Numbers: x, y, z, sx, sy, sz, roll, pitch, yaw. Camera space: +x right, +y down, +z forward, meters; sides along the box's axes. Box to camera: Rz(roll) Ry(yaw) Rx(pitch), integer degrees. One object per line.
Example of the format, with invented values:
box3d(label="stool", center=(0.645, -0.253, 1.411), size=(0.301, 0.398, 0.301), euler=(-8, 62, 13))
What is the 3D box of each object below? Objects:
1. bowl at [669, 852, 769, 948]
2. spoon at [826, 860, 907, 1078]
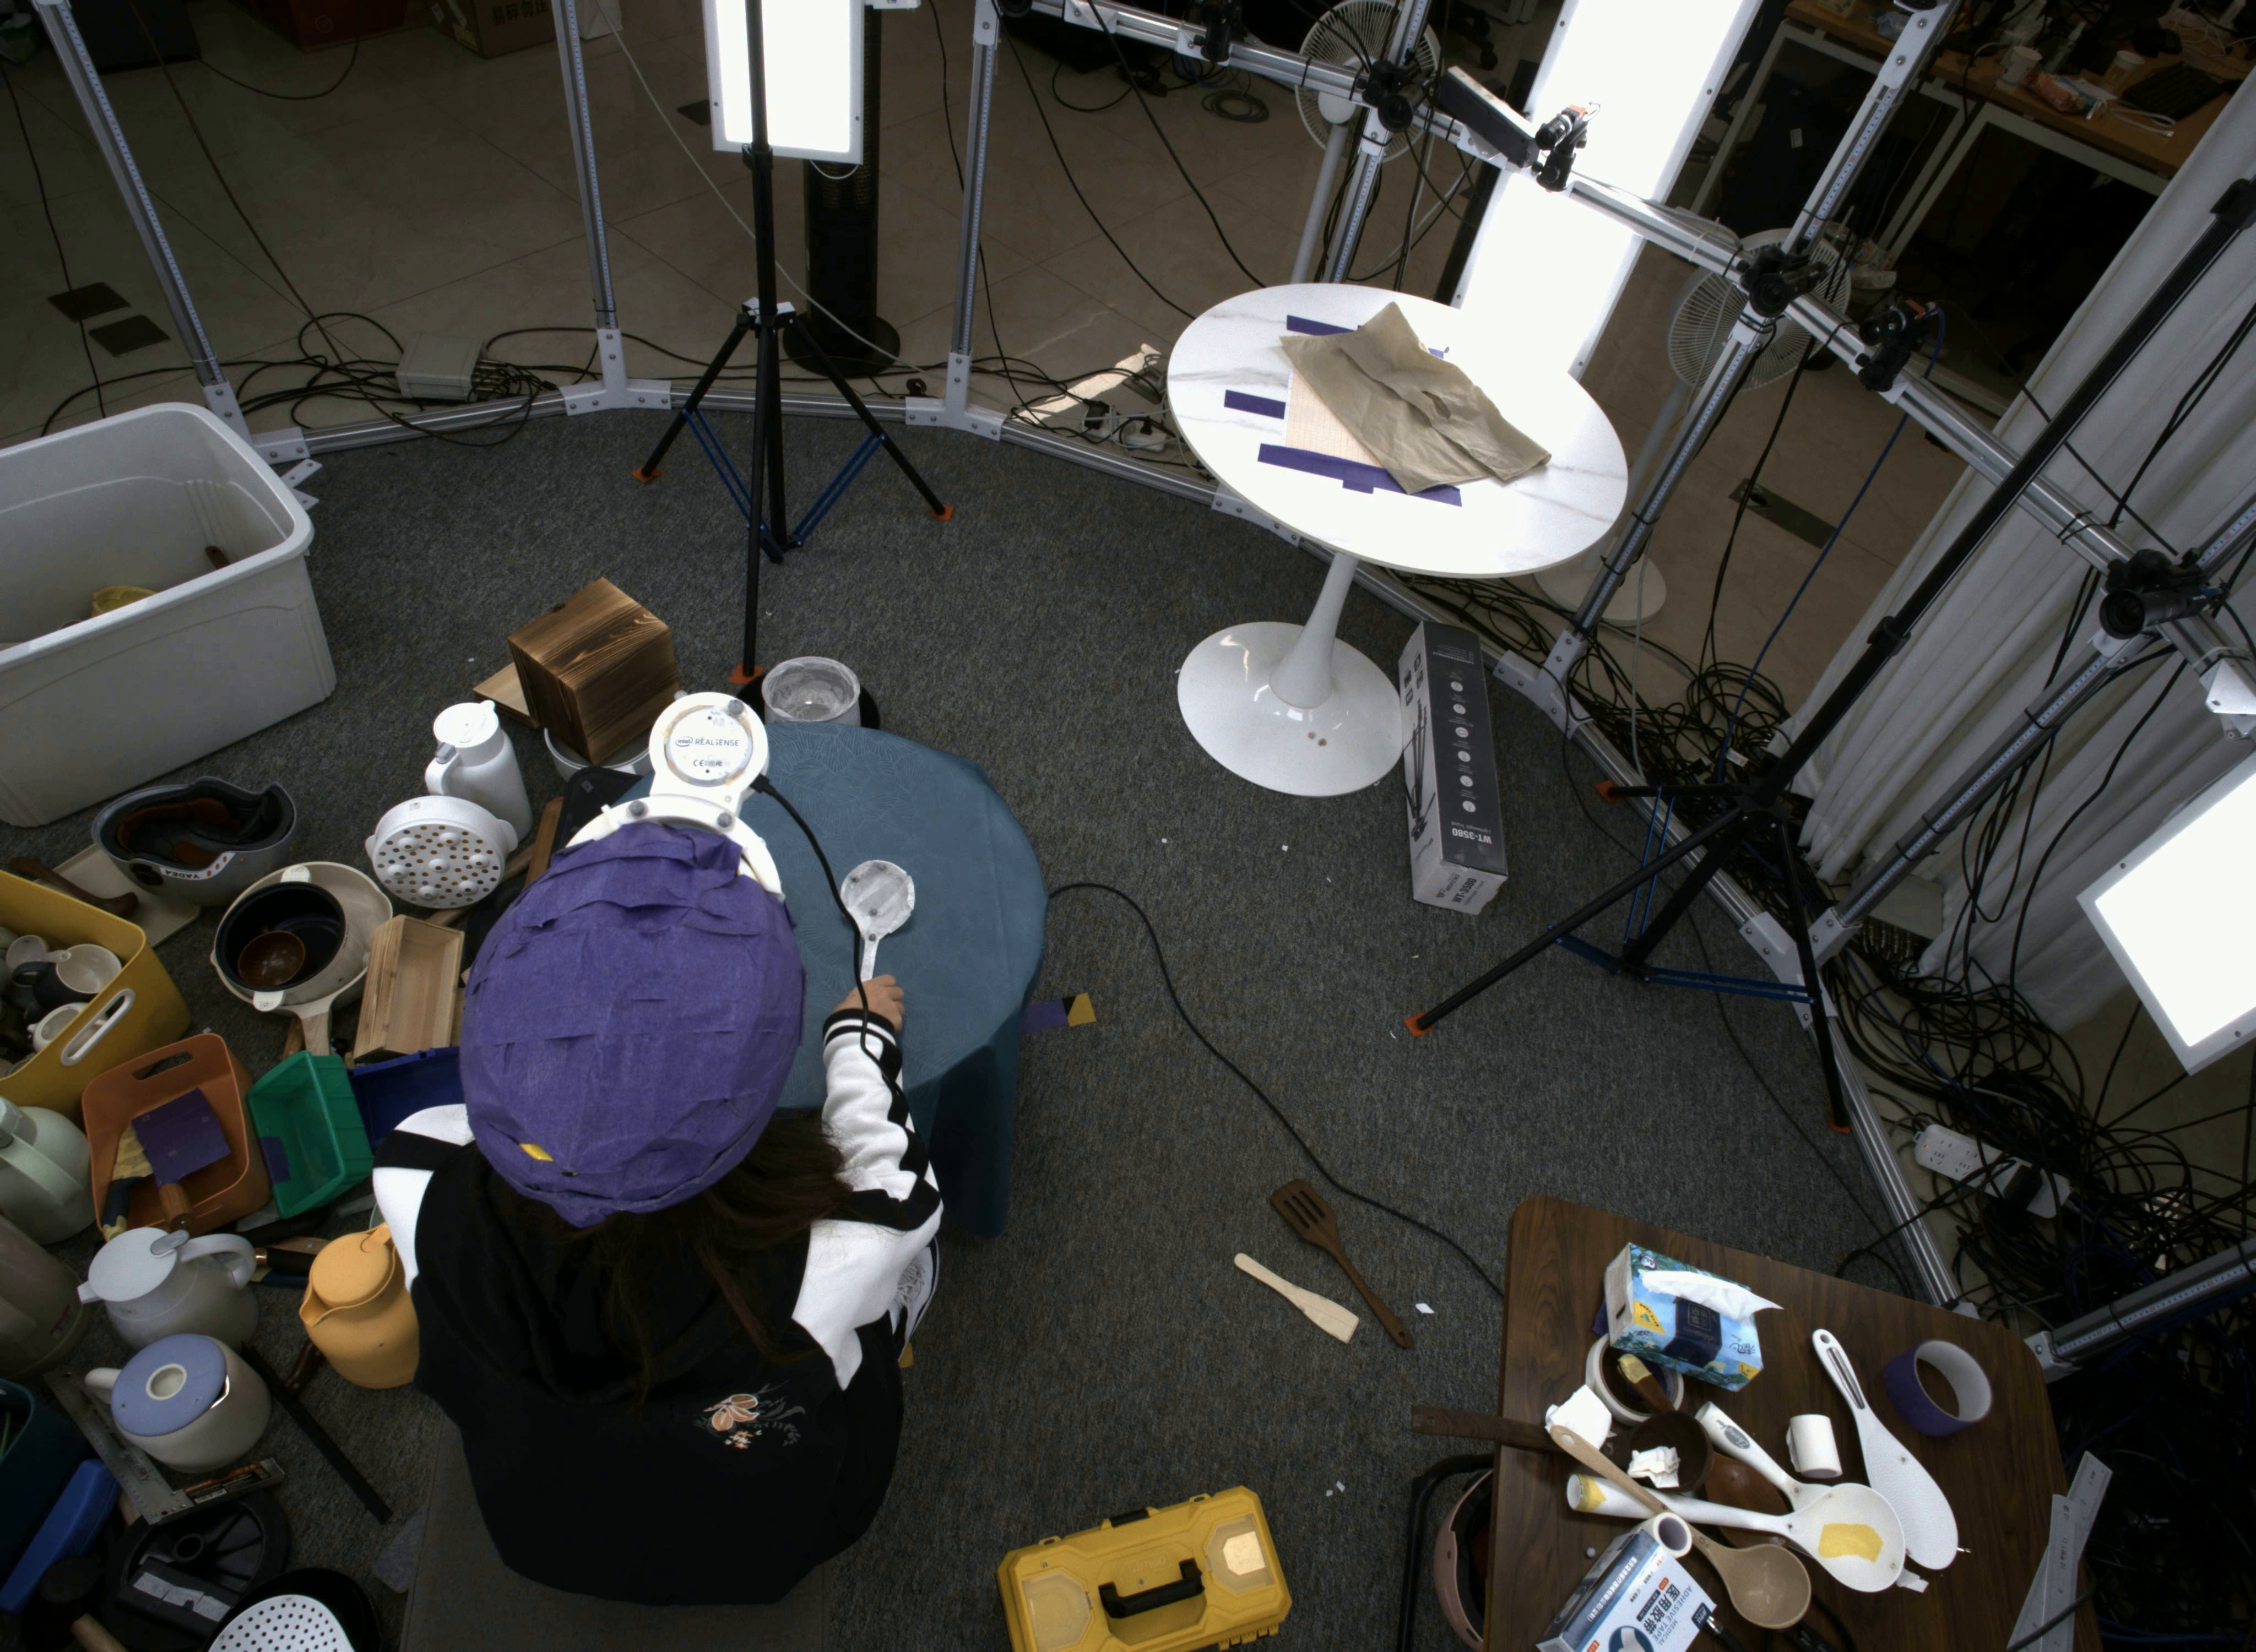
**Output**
box3d(label="bowl", center=(-0.499, 0.096, 1.580), size=(0.118, 0.071, 0.116), euler=(7, 52, -8))
box3d(label="spoon", center=(-0.334, 0.167, 1.580), size=(0.100, 0.061, 0.272), euler=(7, 52, -5))
